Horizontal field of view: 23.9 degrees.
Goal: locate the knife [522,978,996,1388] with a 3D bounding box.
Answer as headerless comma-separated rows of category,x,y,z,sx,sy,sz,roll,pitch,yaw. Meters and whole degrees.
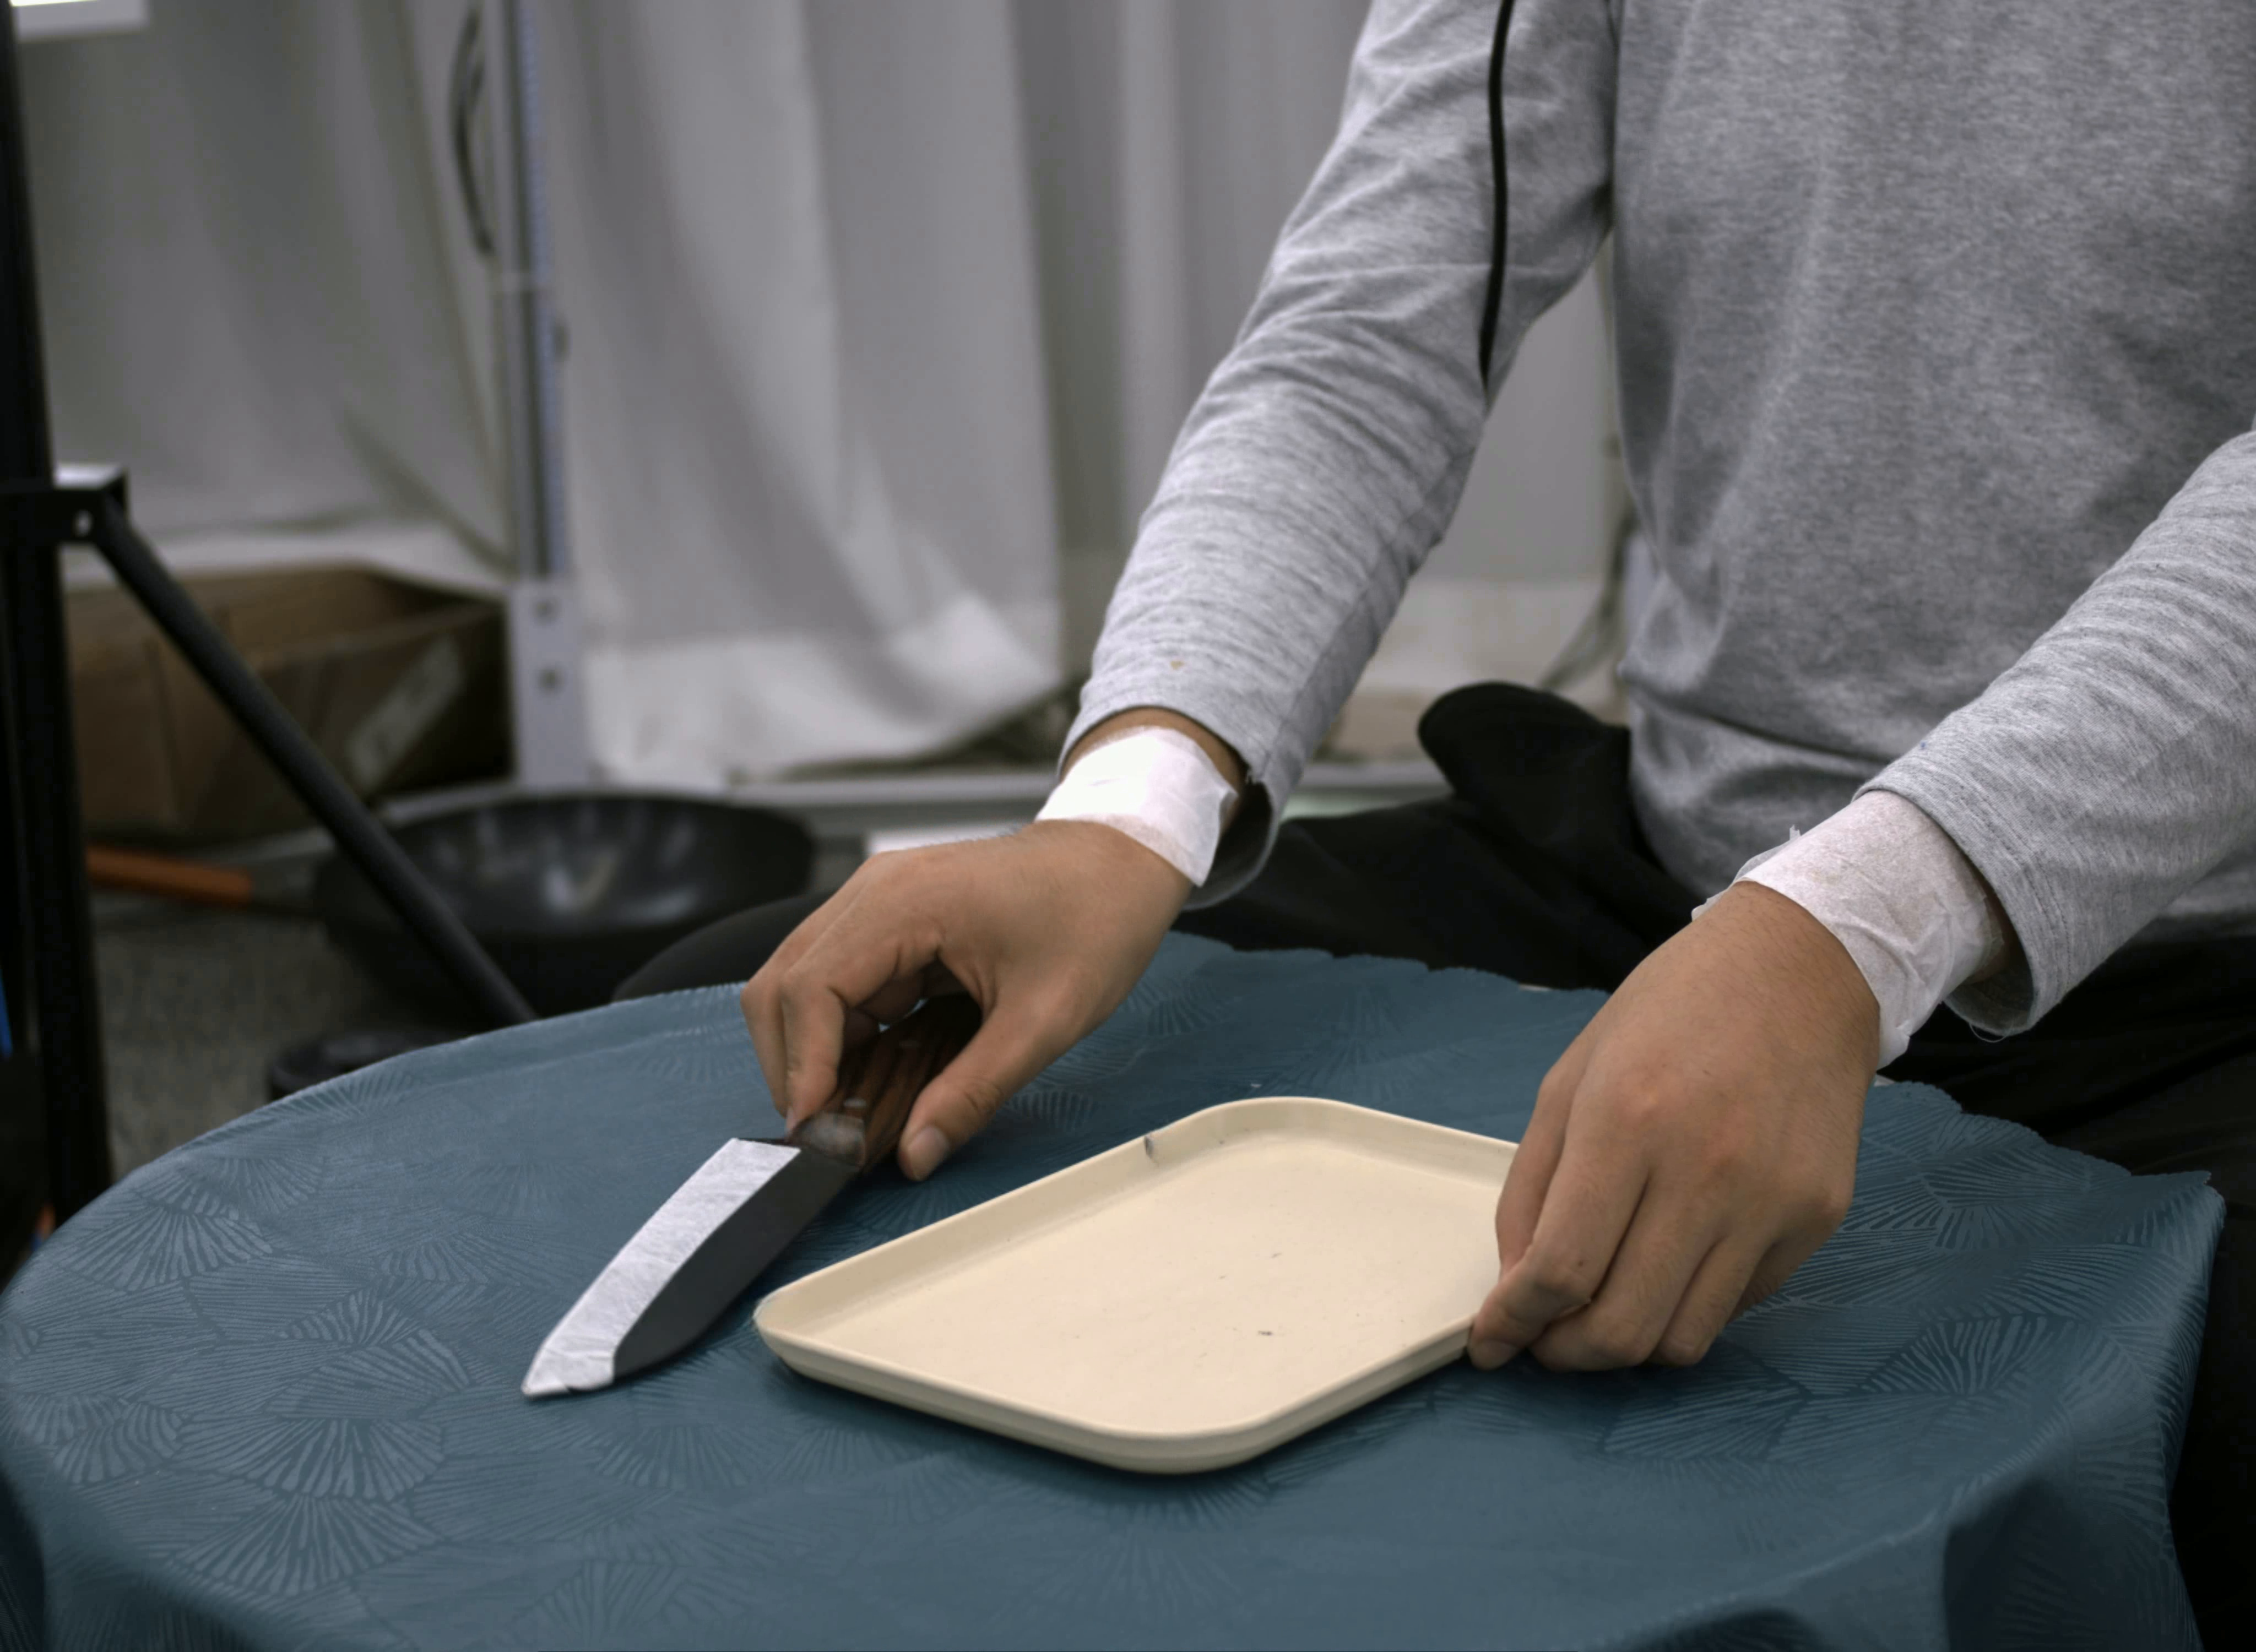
knife,-0.102,0.103,1.542,0.051,0.020,0.285,5,22,22

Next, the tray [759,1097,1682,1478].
tray,0.028,0.126,1.464,0.175,0.017,0.234,12,21,40
